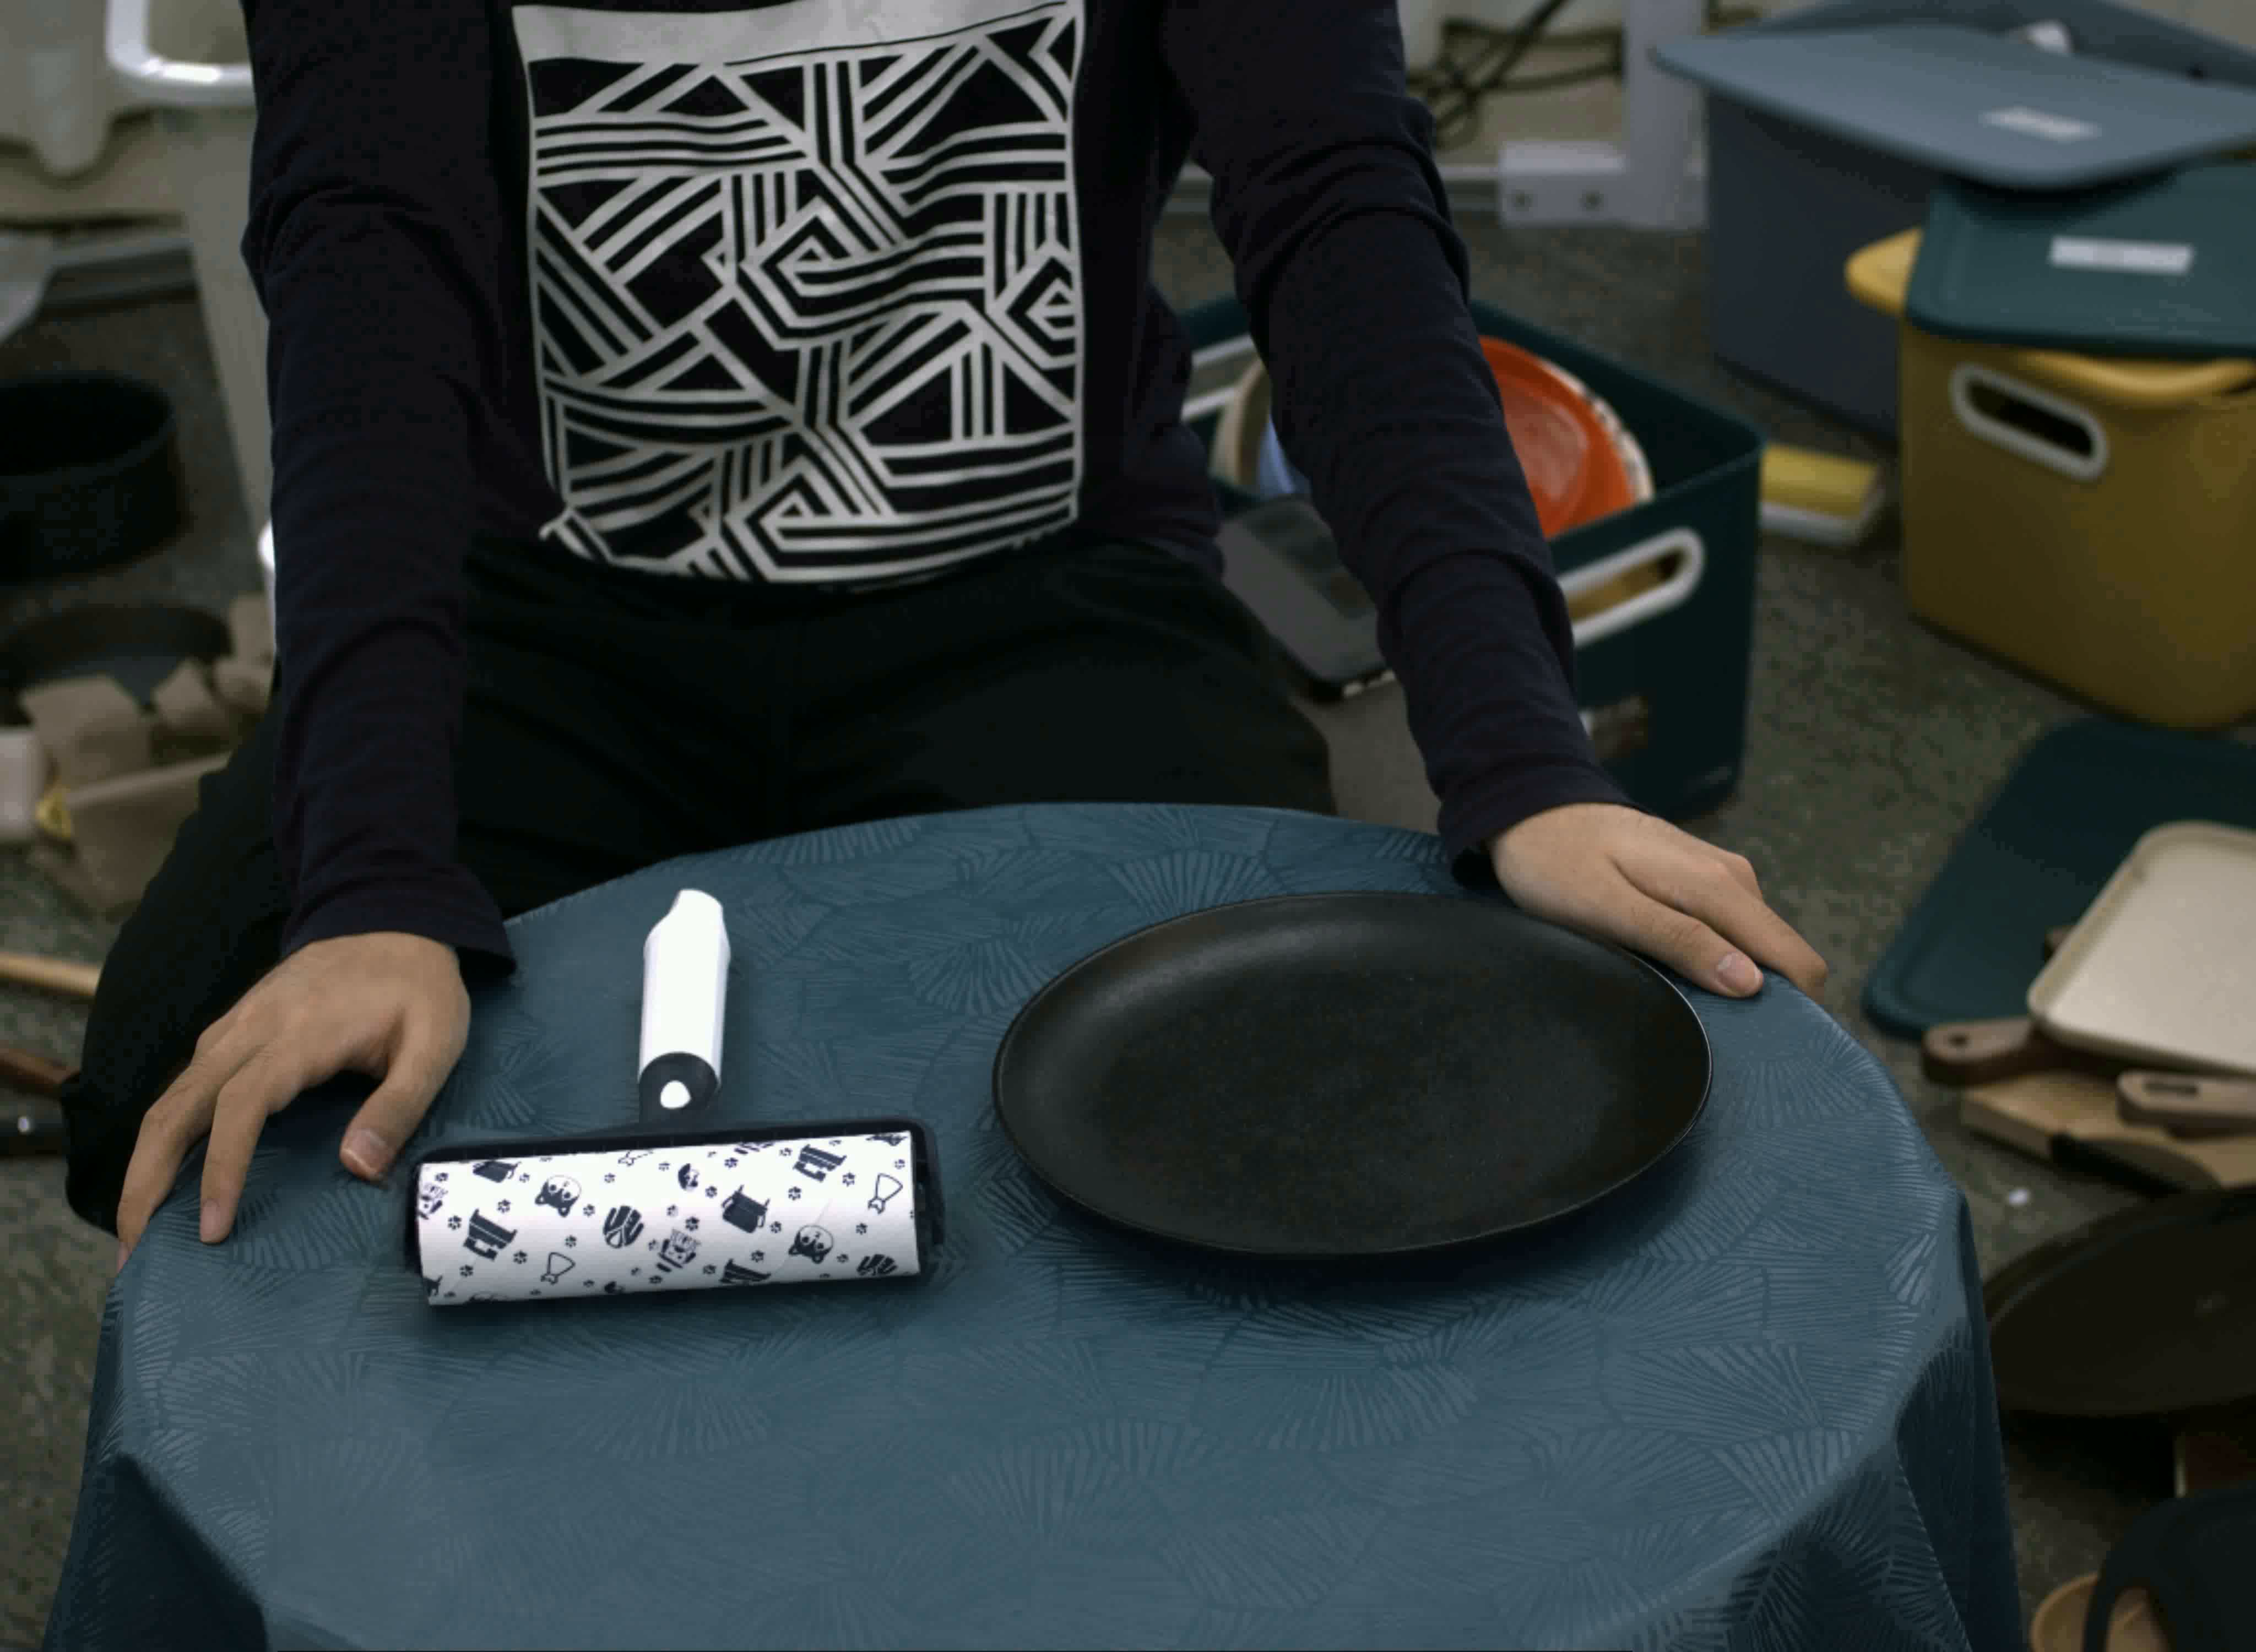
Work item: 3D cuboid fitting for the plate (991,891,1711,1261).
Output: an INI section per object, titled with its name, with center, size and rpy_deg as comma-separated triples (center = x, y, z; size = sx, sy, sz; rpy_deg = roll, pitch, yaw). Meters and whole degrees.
[plate]
center = 0.075, 0.088, 1.896
size = 0.243, 0.023, 0.248
rpy_deg = -2, 27, 1

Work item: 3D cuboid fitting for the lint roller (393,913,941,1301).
[lint roller]
center = -0.154, 0.083, 1.906
size = 0.175, 0.050, 0.250
rpy_deg = -5, 25, -2
